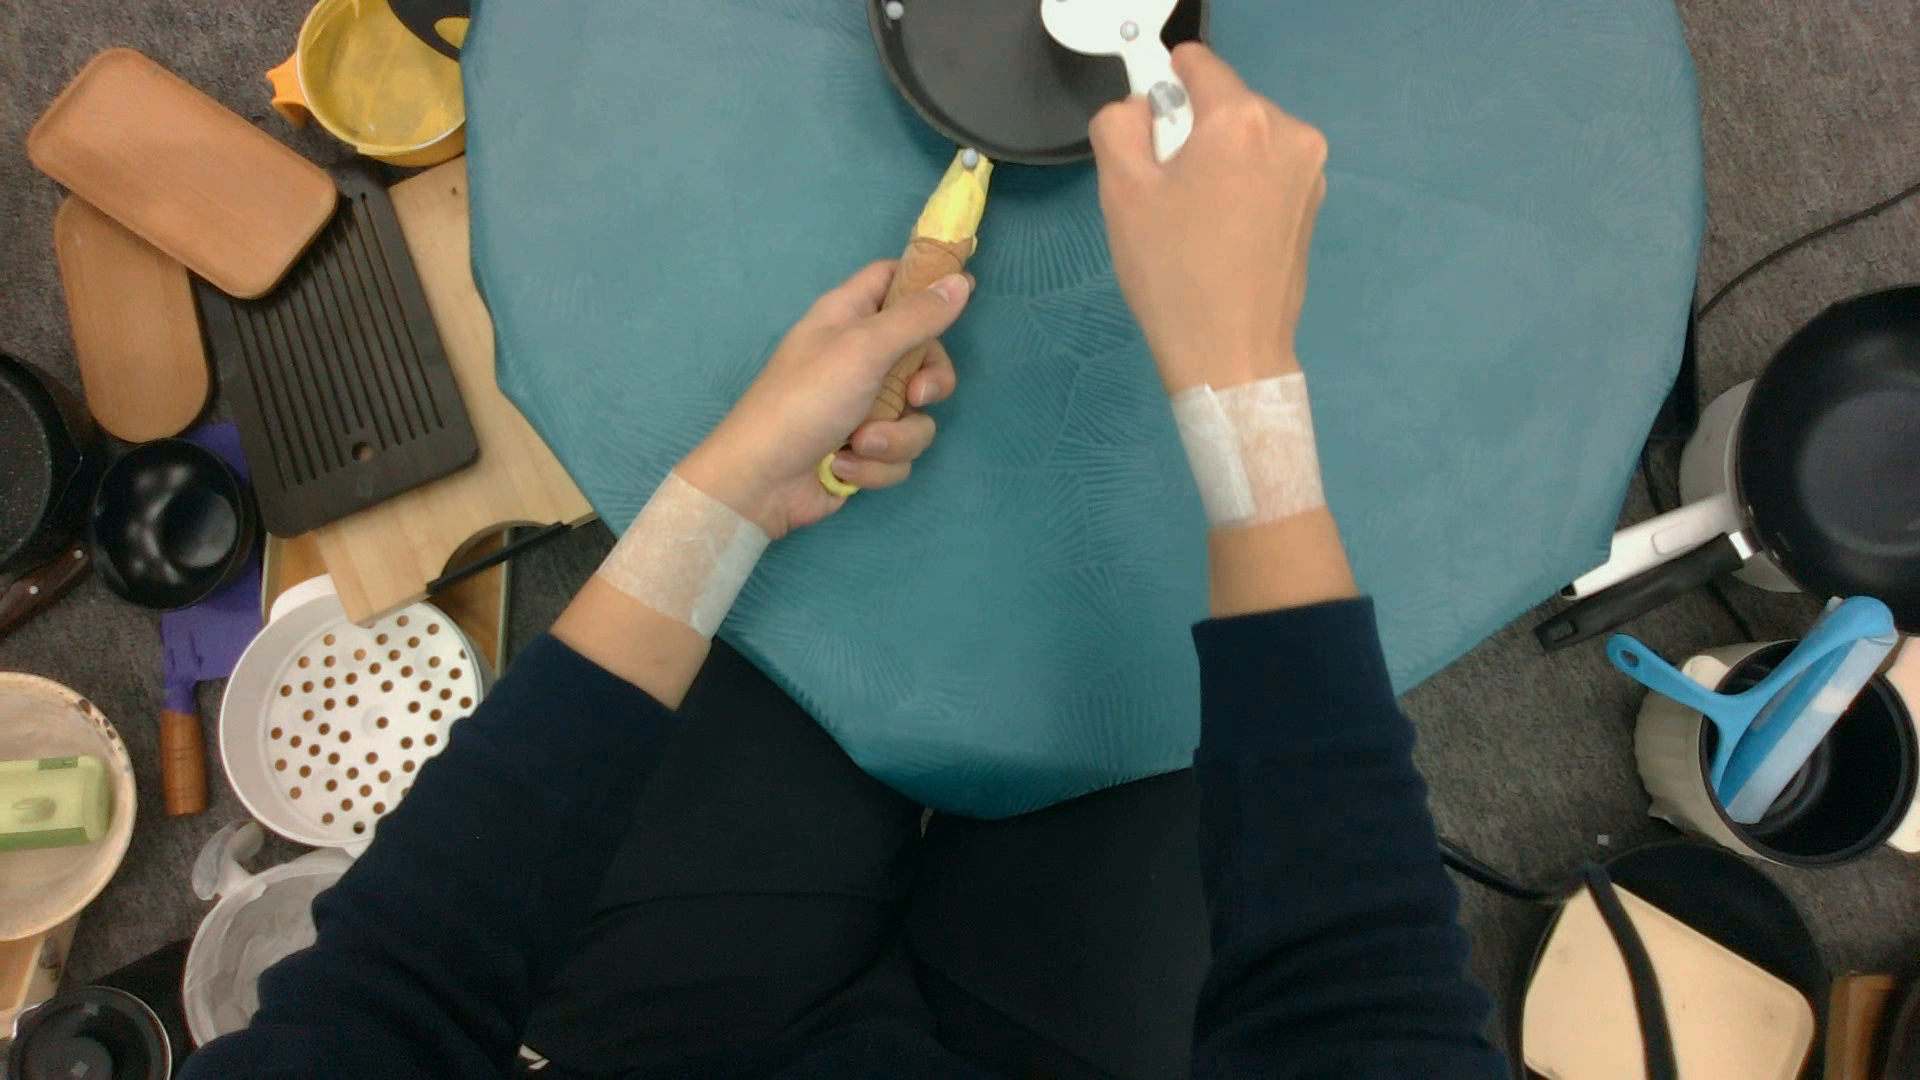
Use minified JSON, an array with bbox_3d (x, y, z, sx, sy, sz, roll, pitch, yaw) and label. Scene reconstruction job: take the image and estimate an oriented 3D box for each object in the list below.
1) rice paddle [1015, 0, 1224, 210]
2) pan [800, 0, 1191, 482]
[{"bbox_3d":[0.067,-0.212,0.589,0.068,0.029,0.206,-24,46,12],"label":"rice paddle"},{"bbox_3d":[-0.005,-0.175,0.625,0.169,0.049,0.324,23,81,-3],"label":"pan"}]
